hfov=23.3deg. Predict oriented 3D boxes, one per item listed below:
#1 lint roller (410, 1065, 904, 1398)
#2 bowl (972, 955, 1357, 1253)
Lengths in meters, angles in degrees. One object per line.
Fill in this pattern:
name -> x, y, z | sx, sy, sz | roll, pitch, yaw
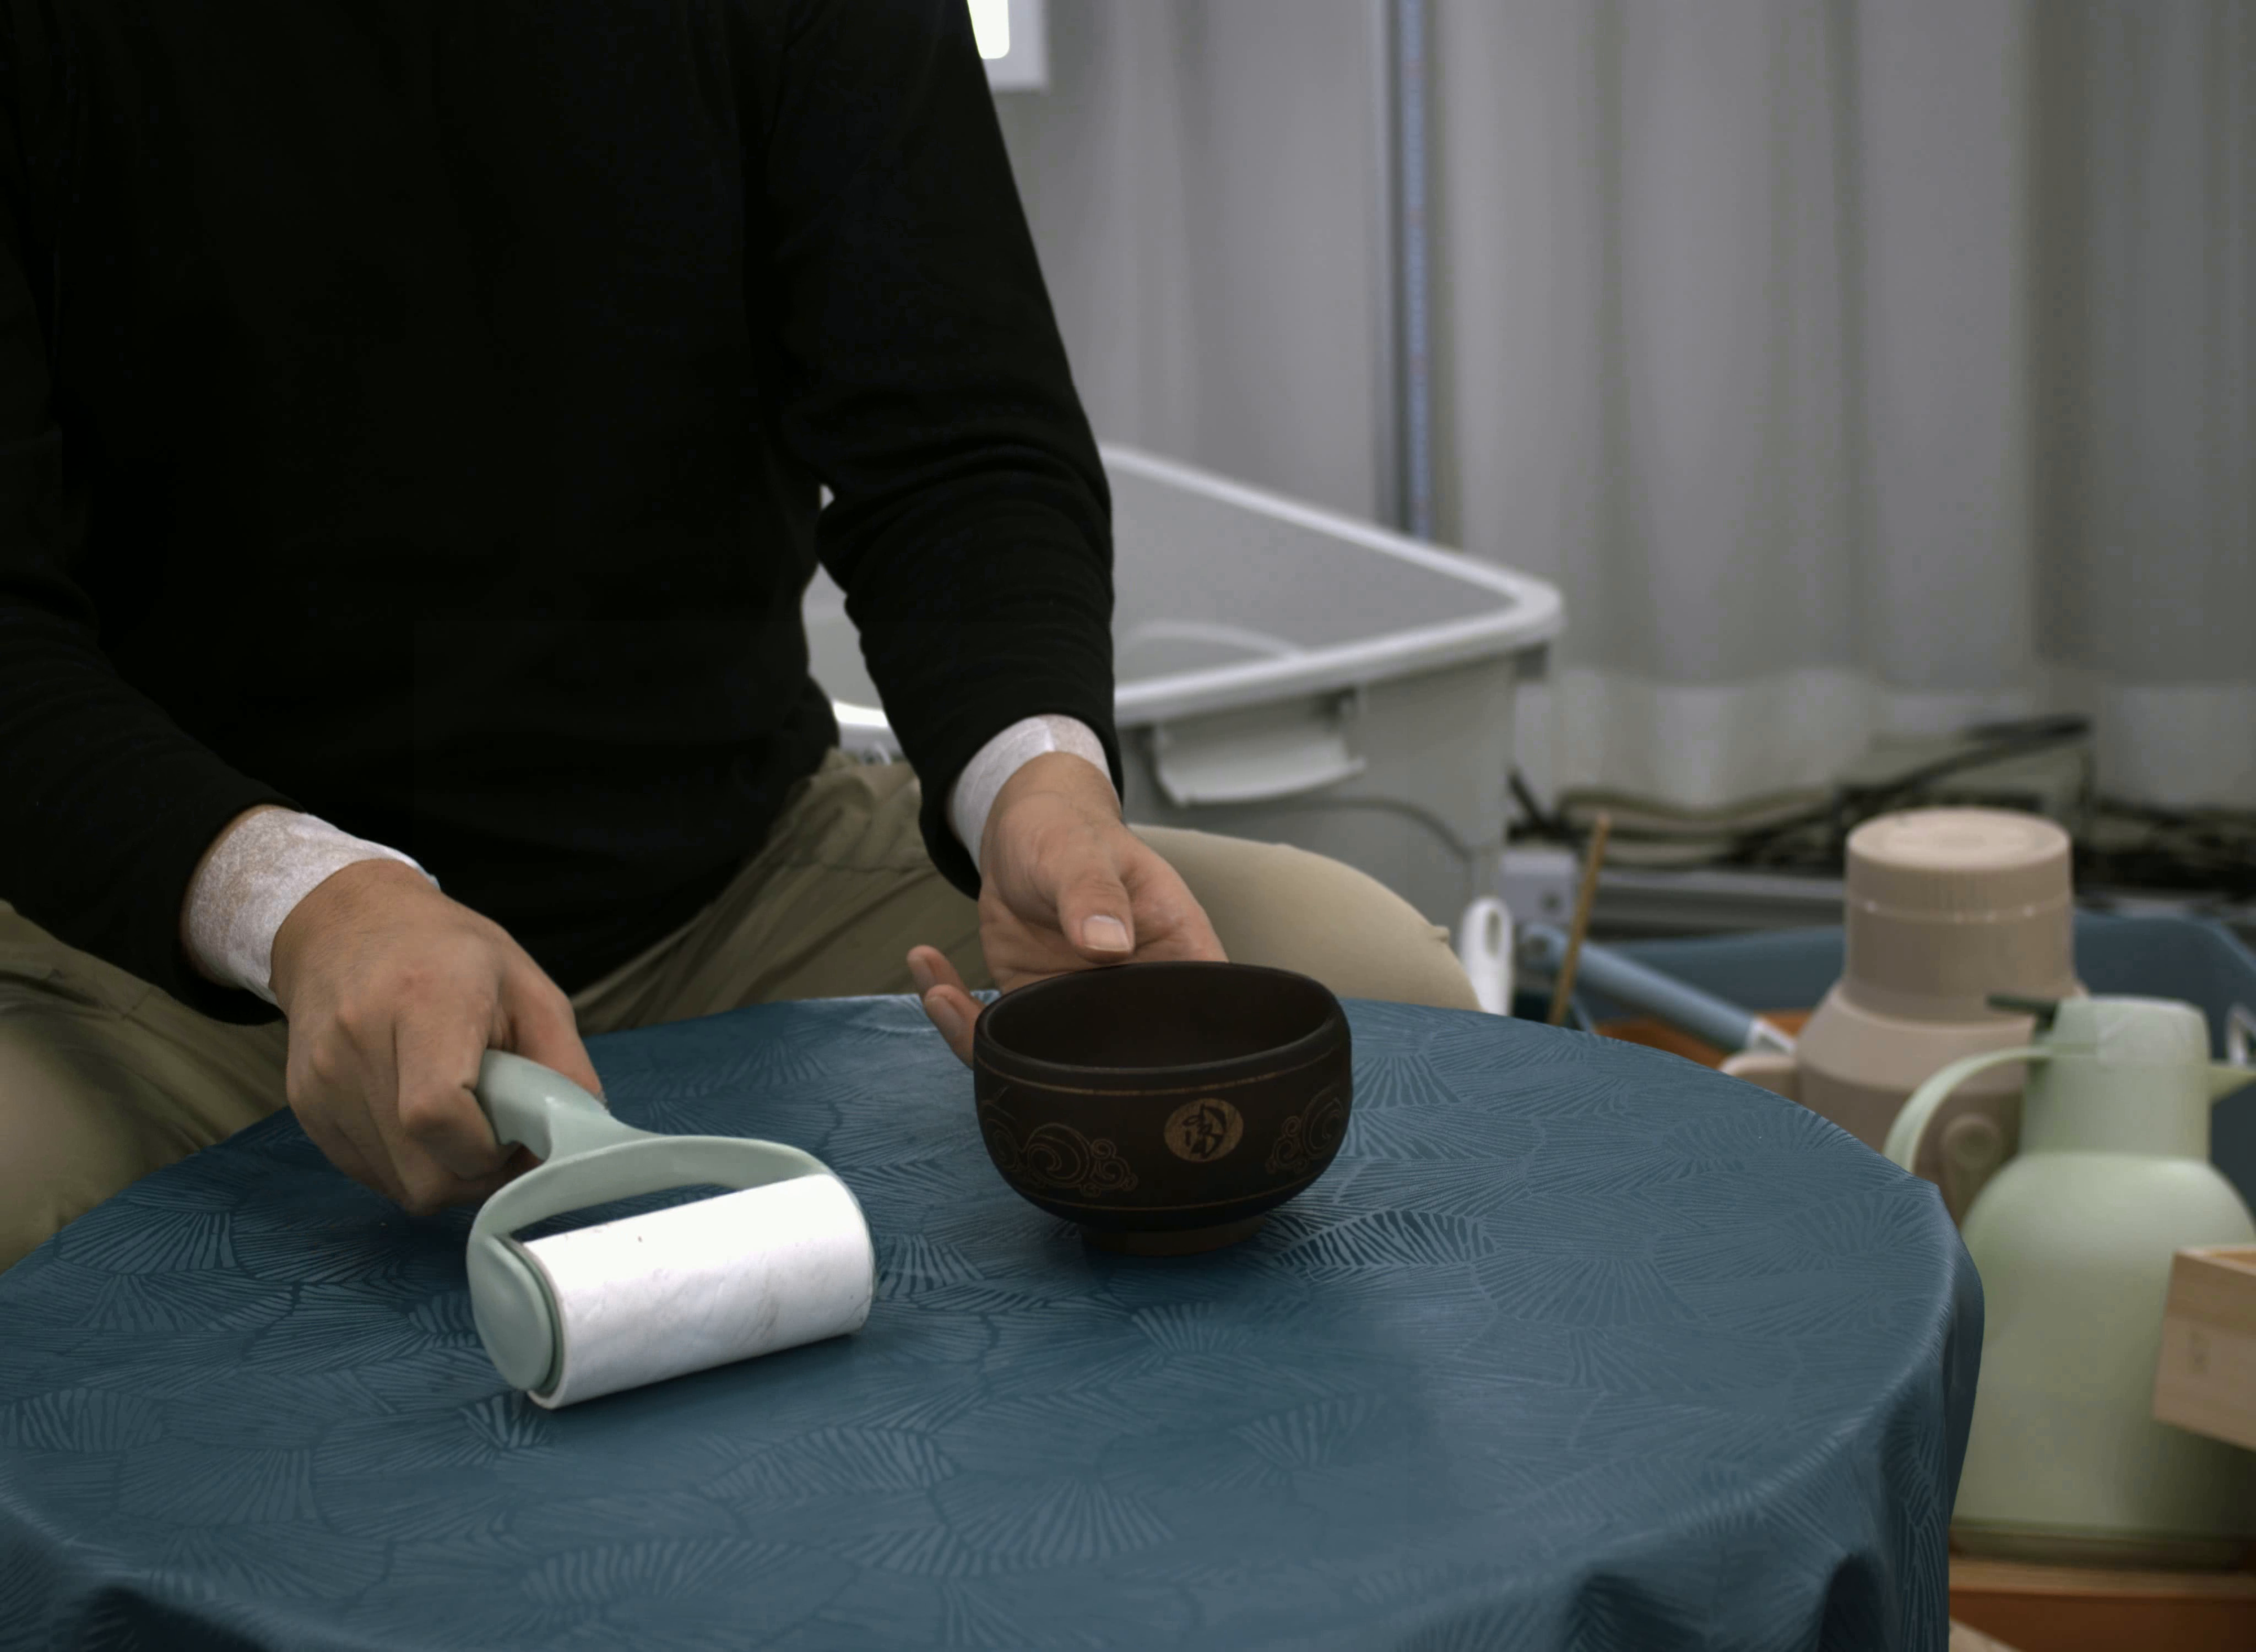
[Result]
lint roller -> -0.160, 0.104, 1.634 | 0.116, 0.048, 0.200 | -12, 28, -31
bowl -> 0.012, 0.089, 1.671 | 0.117, 0.069, 0.119 | -4, 14, 1
